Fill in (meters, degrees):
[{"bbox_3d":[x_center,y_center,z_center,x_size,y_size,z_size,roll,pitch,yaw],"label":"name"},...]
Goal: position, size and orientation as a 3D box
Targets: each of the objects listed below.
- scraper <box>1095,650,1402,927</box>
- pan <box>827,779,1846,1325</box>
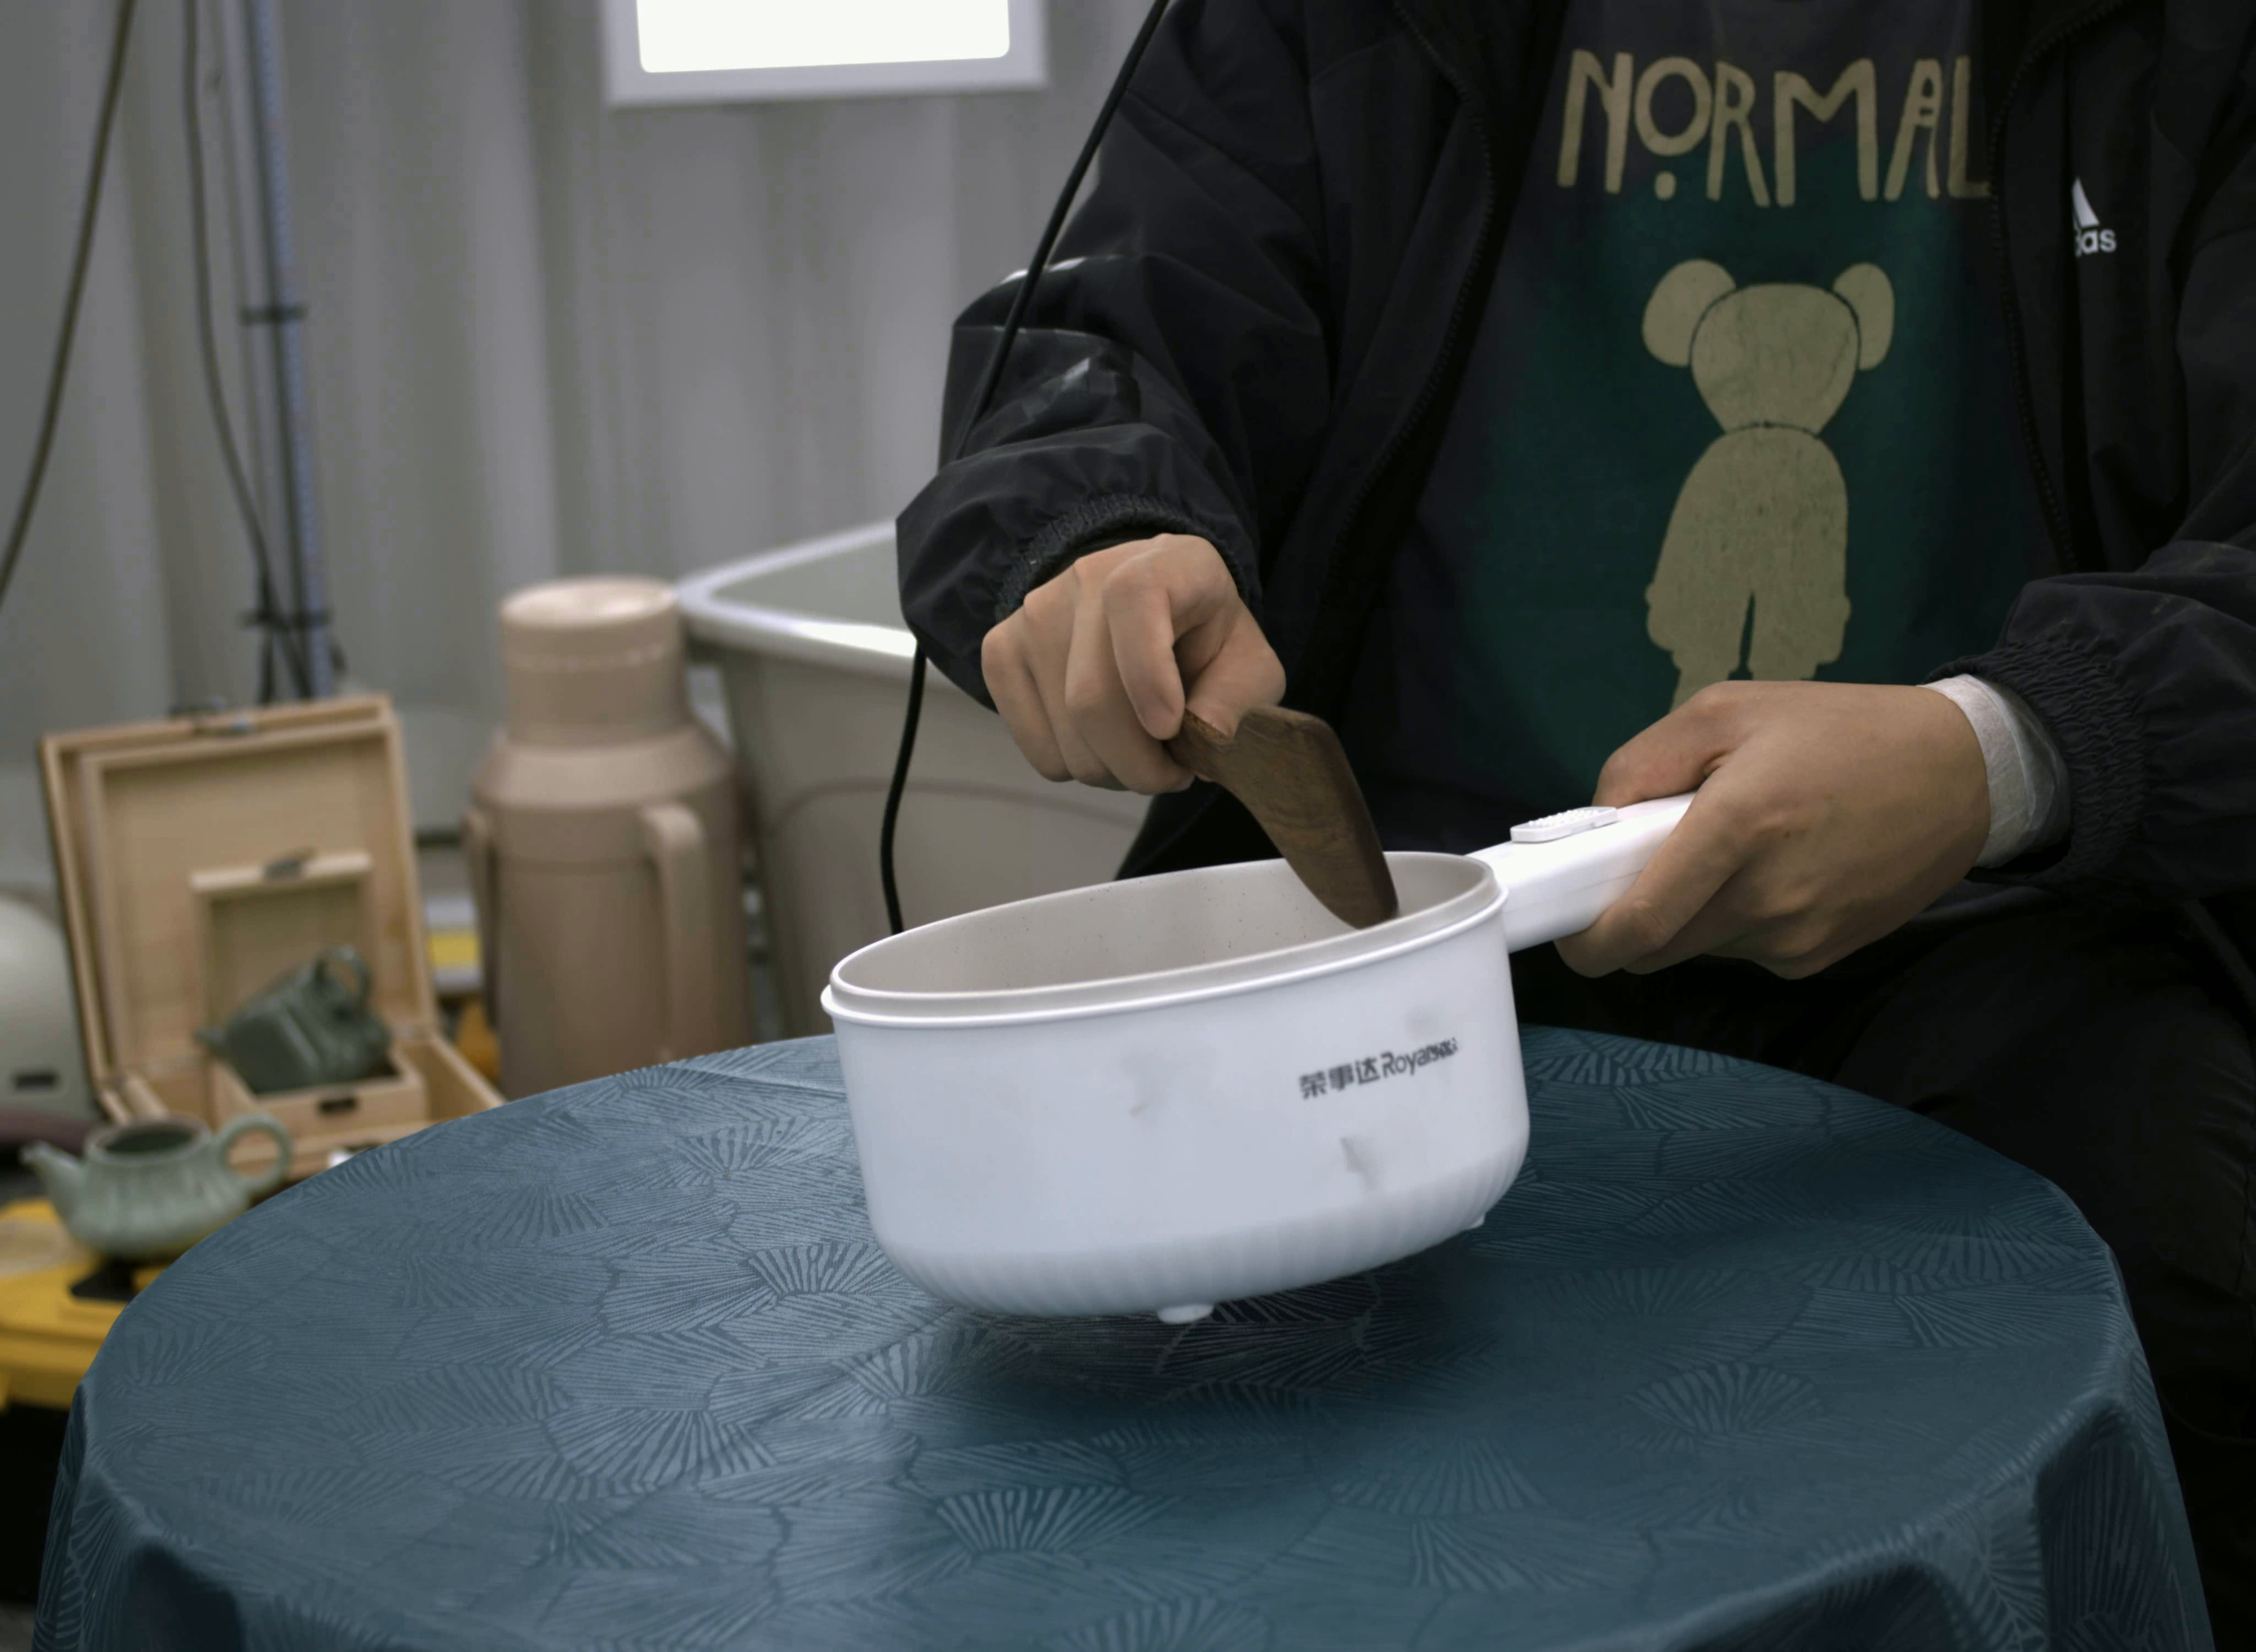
[{"bbox_3d":[0.030,-0.021,1.642,0.011,0.075,0.213,-26,20,-13],"label":"scraper"},{"bbox_3d":[0.078,0.064,1.628,0.353,0.102,0.202,-13,7,-37],"label":"pan"}]
